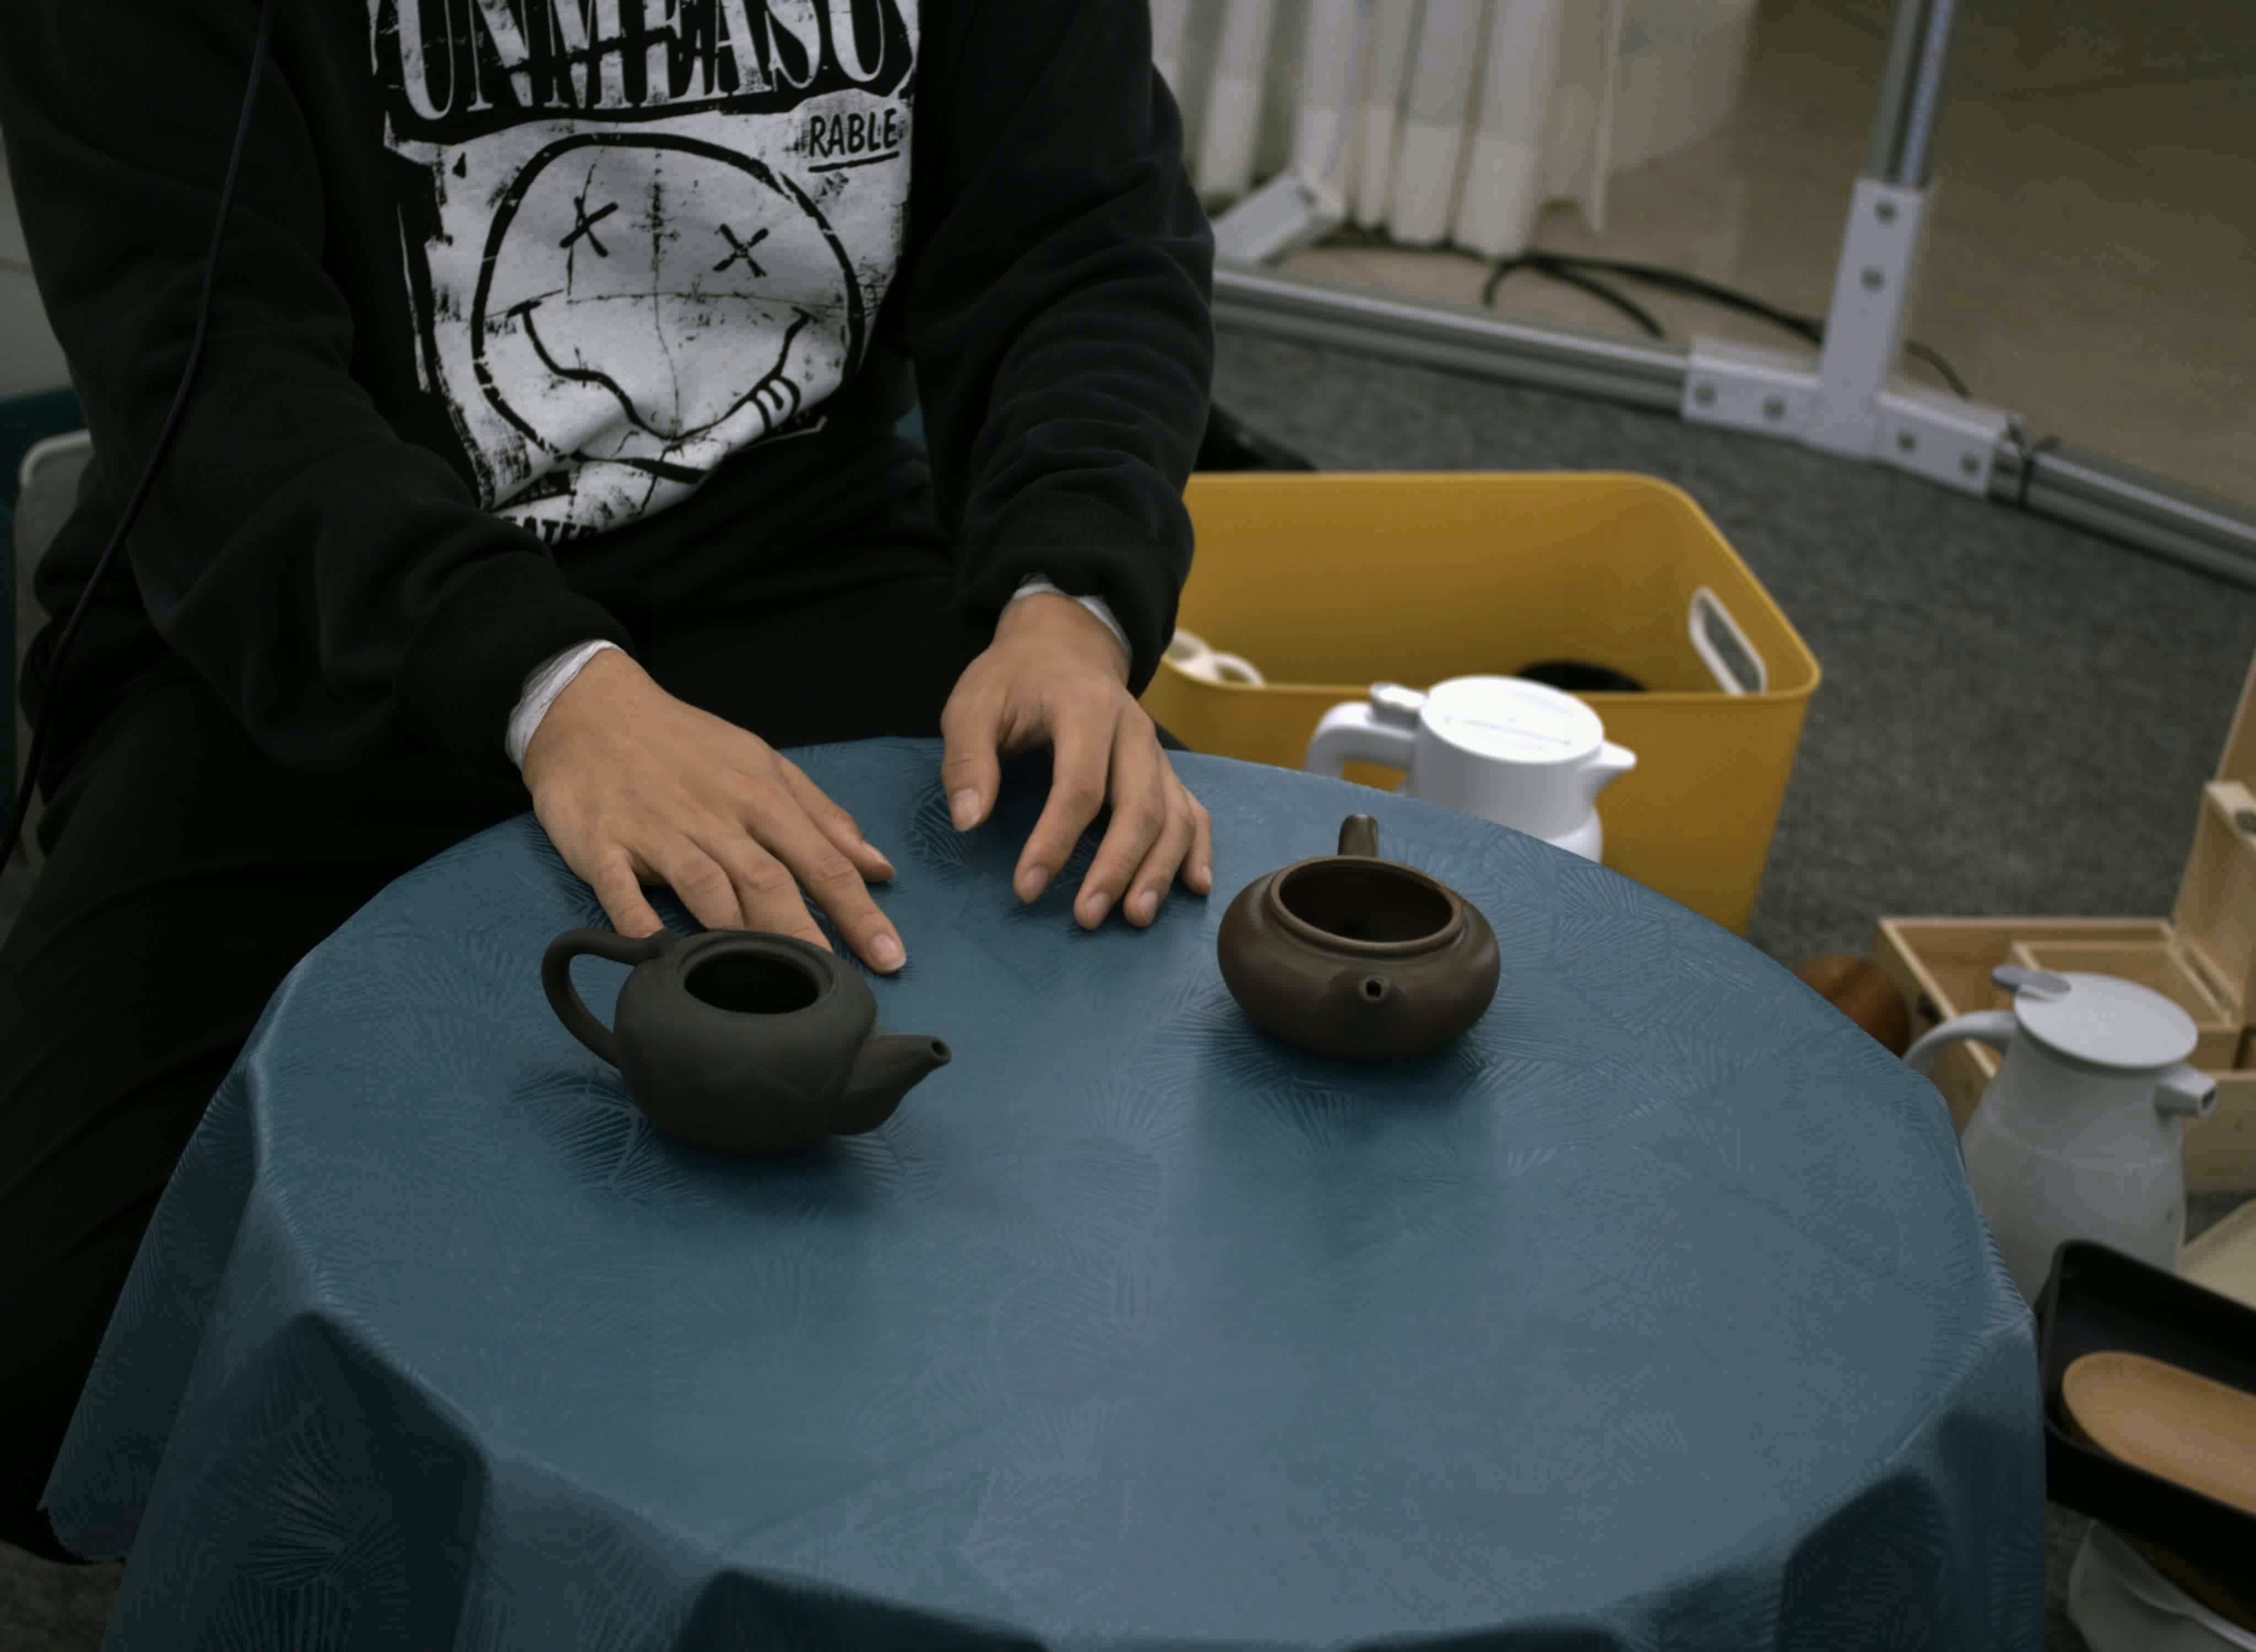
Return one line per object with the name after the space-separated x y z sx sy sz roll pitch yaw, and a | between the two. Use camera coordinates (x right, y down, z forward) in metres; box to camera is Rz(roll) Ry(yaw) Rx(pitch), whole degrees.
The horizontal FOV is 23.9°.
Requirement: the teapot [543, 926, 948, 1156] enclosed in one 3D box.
-0.132 0.072 1.807 0.155 0.064 0.092 18 27 20 | teapot

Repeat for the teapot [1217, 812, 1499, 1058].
0.083 0.043 1.922 0.102 0.053 0.154 5 27 -8 | teapot
